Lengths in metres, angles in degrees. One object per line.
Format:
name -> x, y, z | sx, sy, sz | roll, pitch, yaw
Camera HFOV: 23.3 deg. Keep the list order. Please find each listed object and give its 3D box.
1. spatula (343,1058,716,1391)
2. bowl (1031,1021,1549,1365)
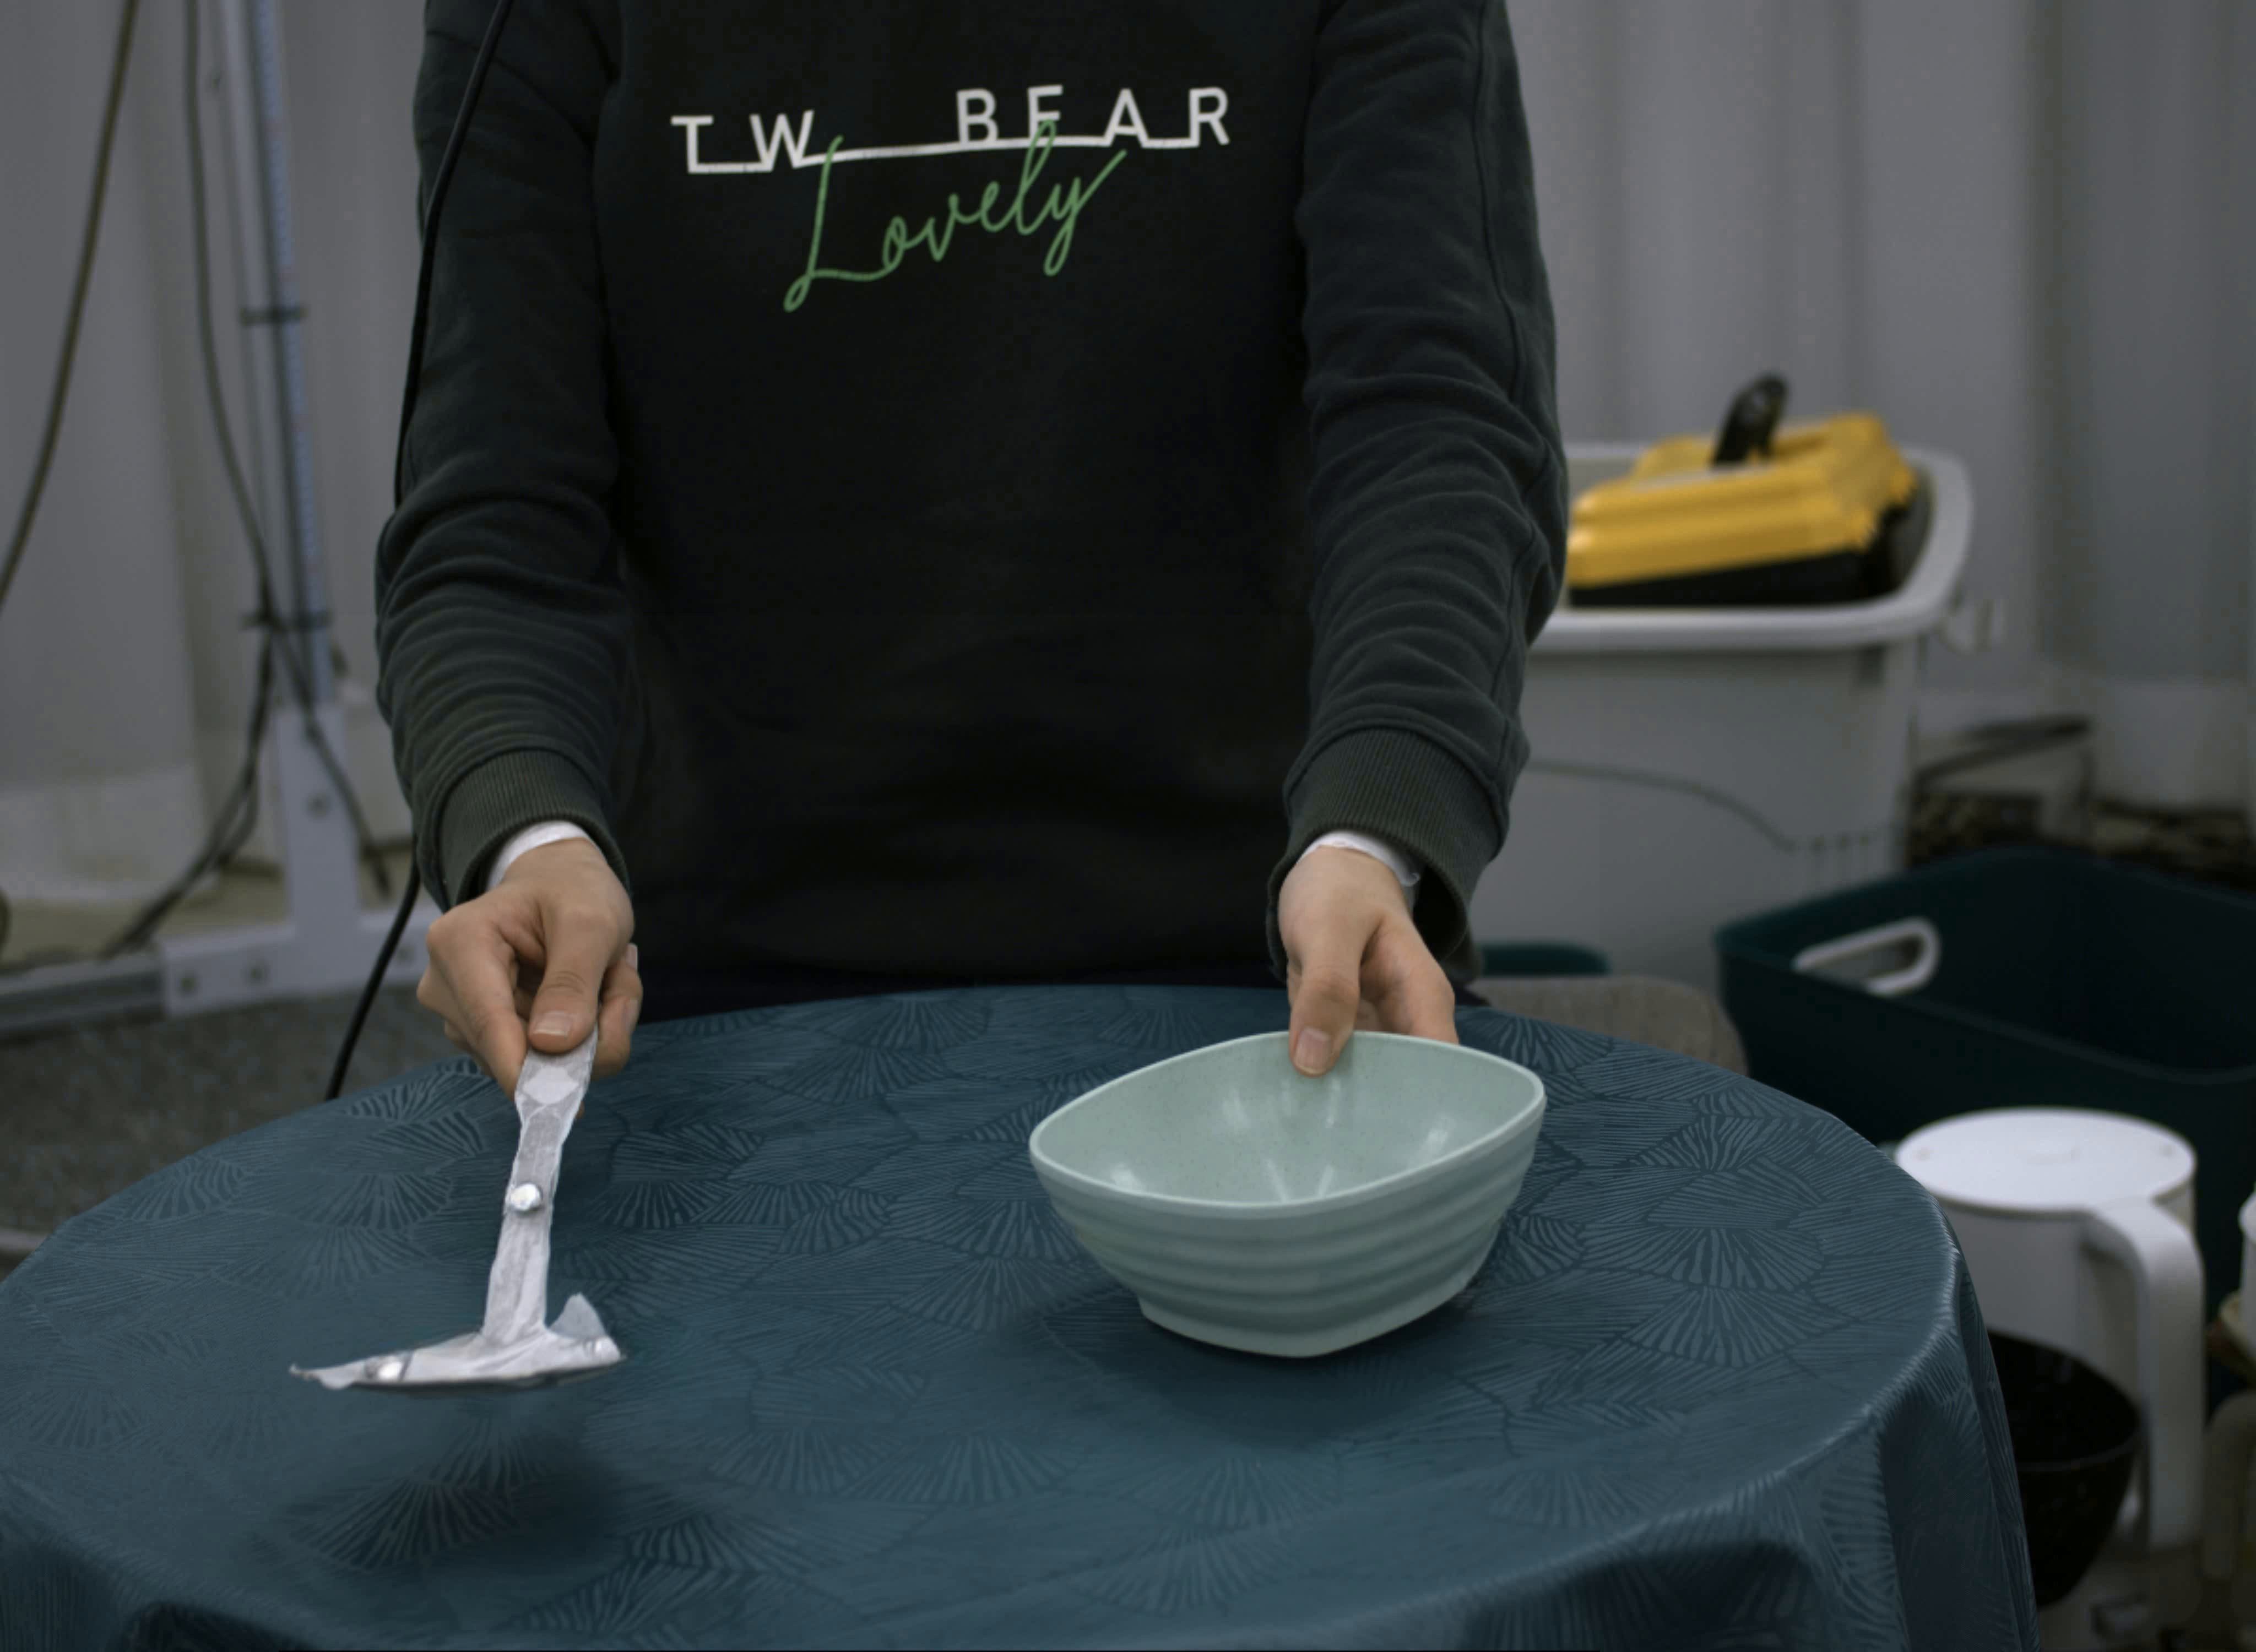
spatula -> -0.181, 0.105, 1.579 | 0.098, 0.044, 0.368 | 8, 14, -11
bowl -> 0.049, 0.111, 1.593 | 0.151, 0.058, 0.153 | -6, 18, 2
